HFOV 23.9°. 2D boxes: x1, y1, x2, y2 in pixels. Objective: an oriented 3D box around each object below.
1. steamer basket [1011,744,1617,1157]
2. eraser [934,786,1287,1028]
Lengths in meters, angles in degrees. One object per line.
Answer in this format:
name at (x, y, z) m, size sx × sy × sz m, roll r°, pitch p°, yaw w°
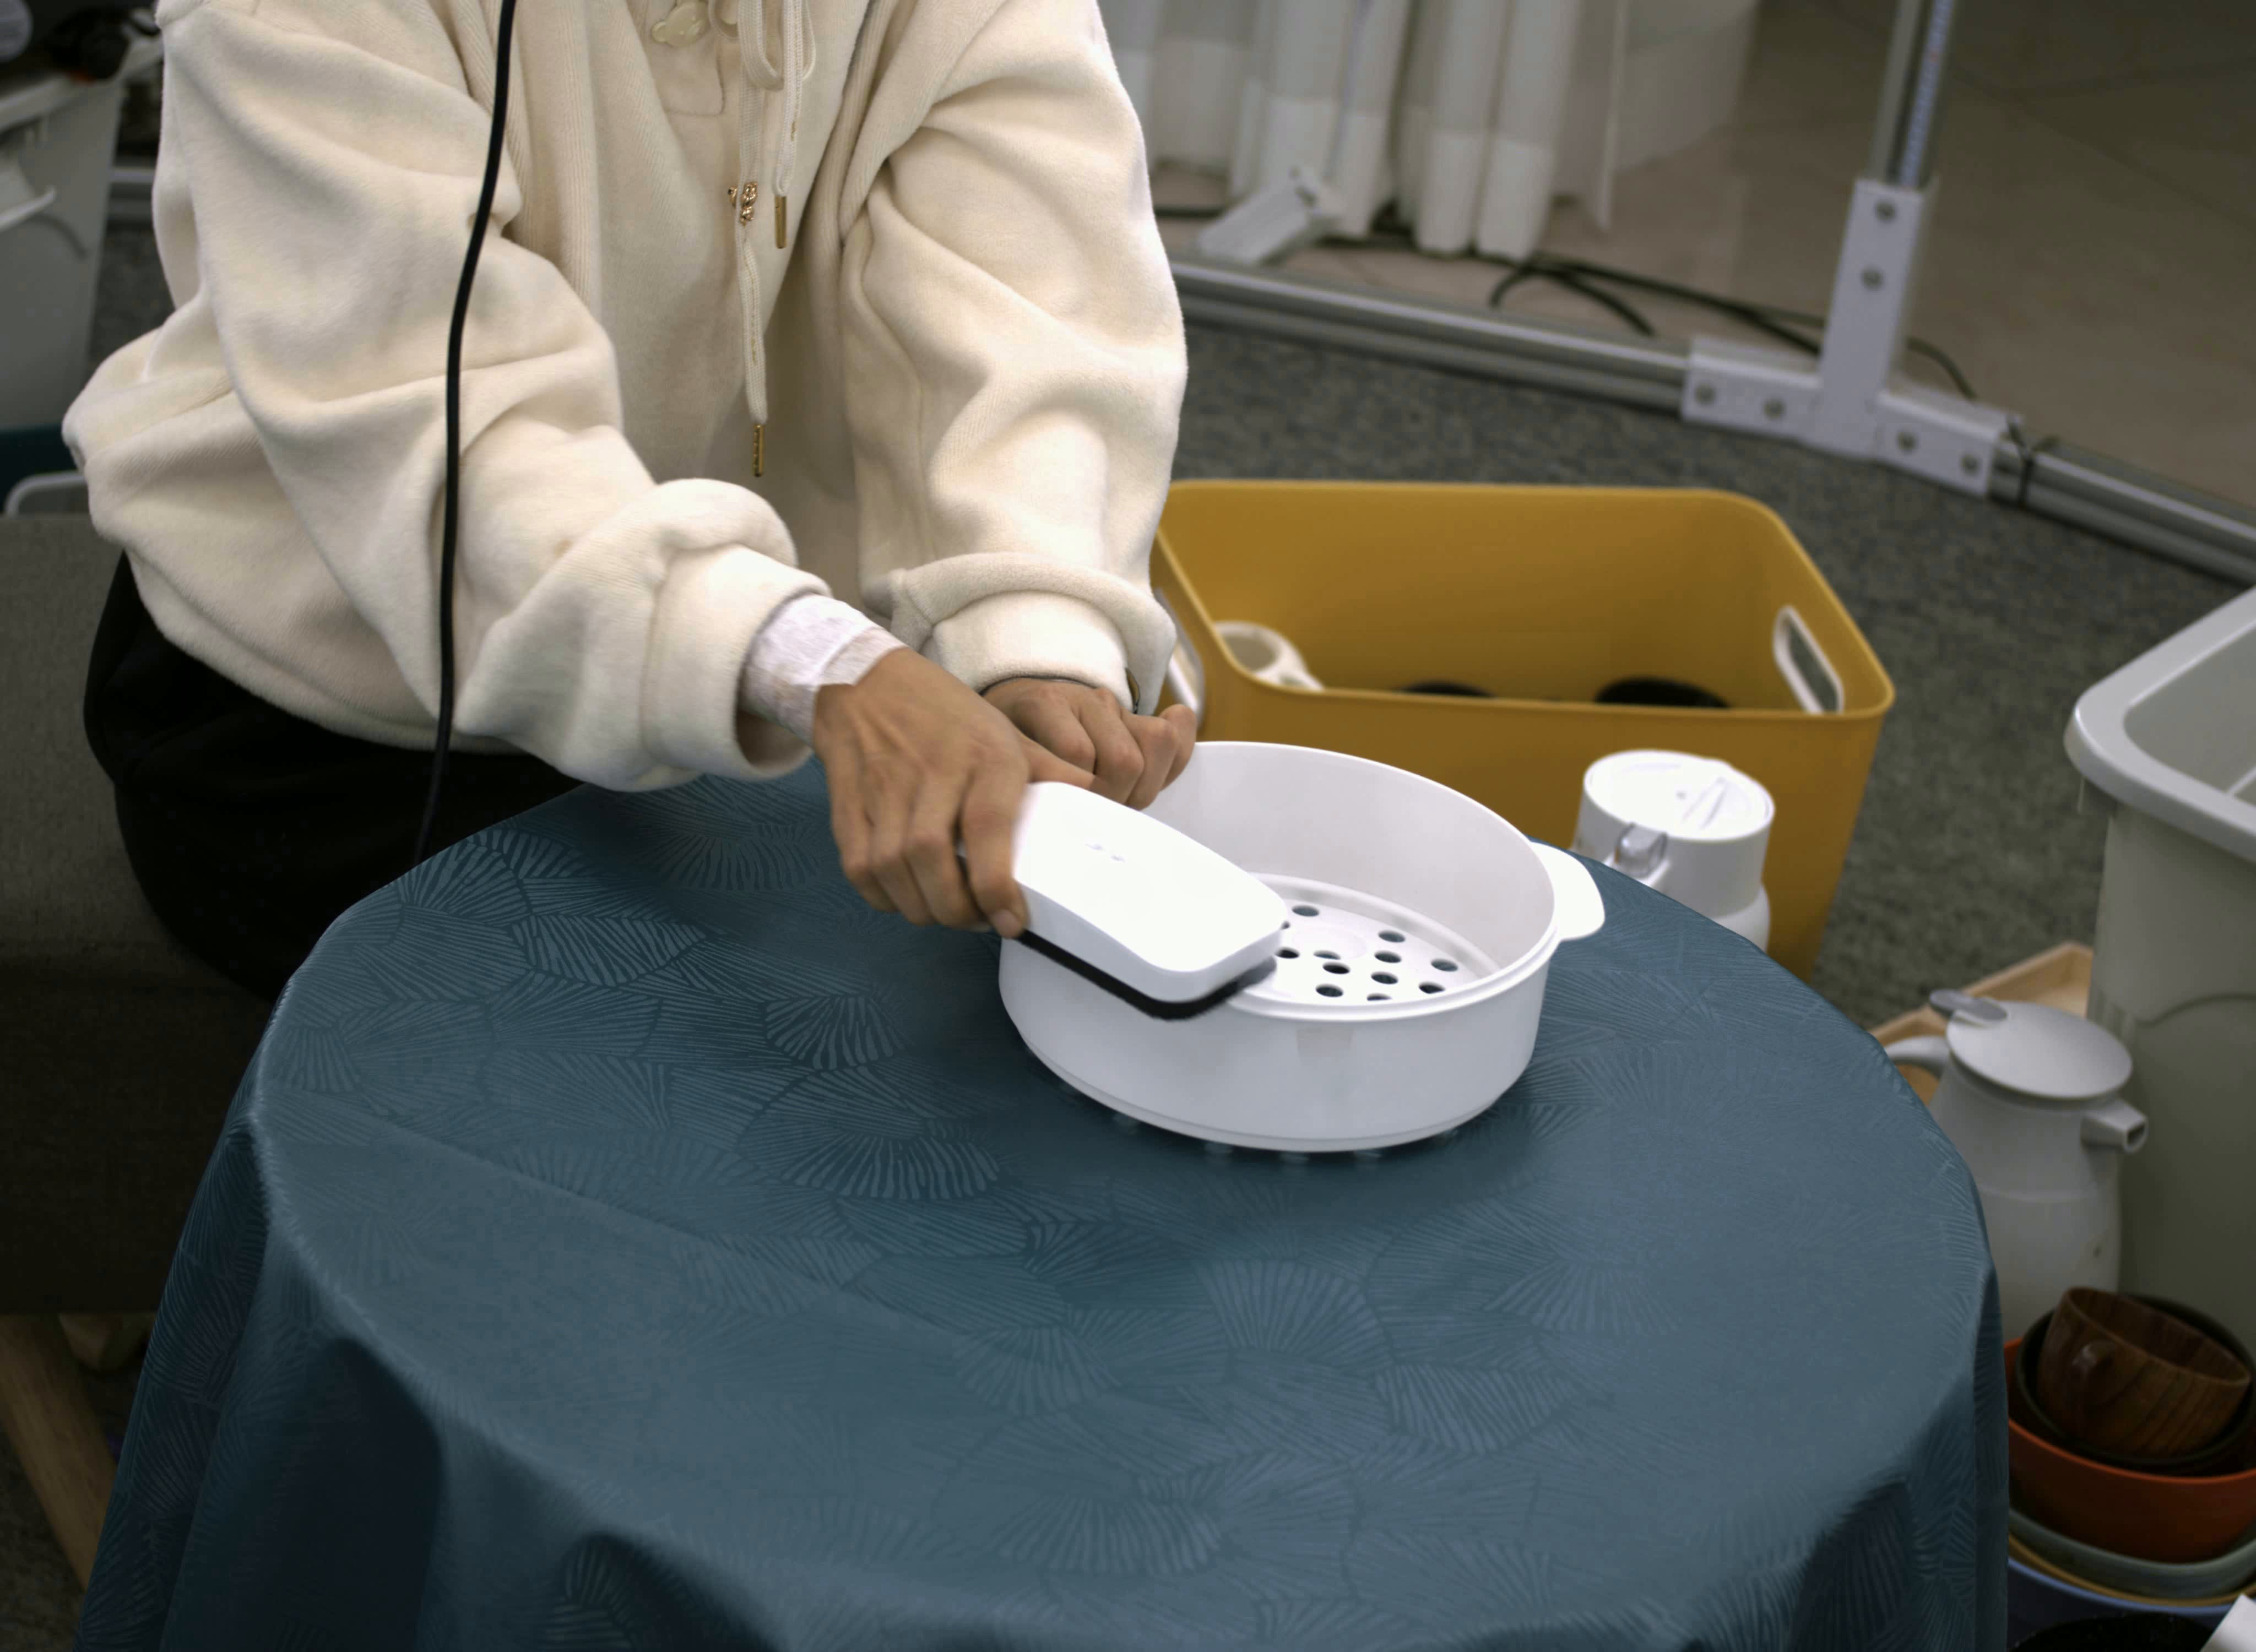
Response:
steamer basket at (0.057, 0.044, 1.897) m, size 0.229 × 0.069 × 0.203 m, roll 3°, pitch 27°, yaw -9°
eraser at (-0.006, 0.024, 1.815) m, size 0.063 × 0.034 × 0.132 m, roll -25°, pitch 39°, yaw -35°
